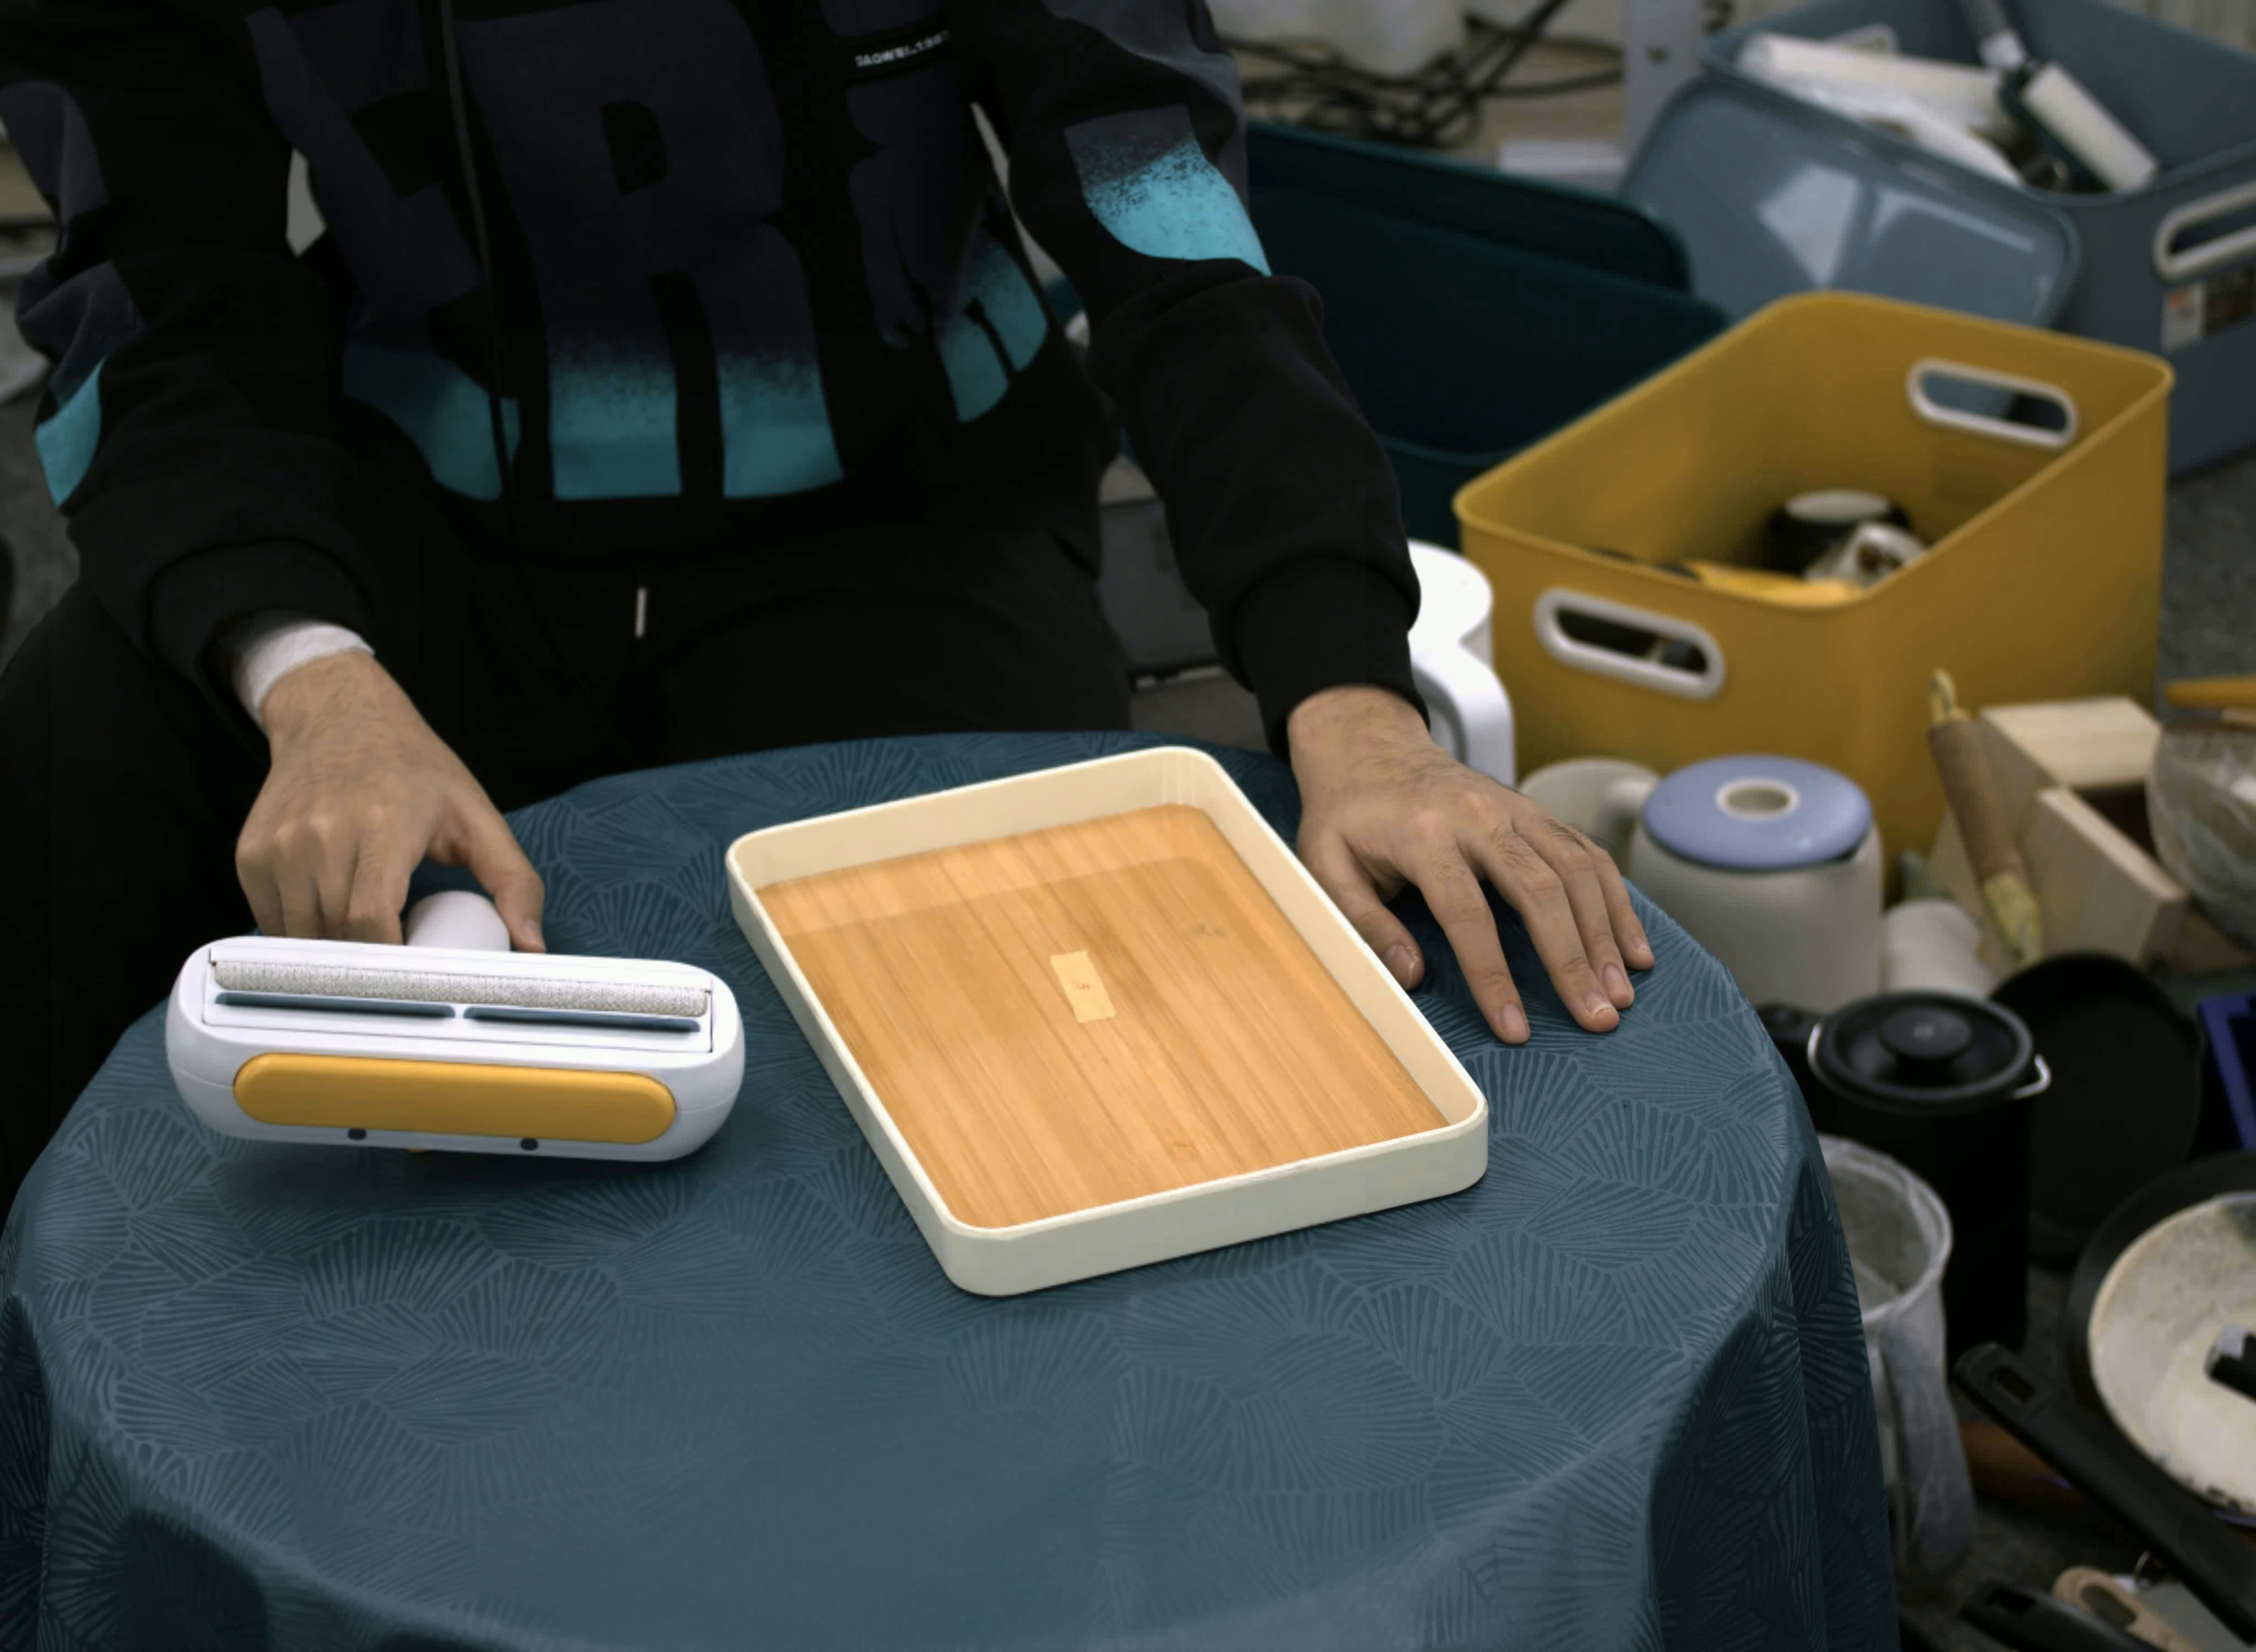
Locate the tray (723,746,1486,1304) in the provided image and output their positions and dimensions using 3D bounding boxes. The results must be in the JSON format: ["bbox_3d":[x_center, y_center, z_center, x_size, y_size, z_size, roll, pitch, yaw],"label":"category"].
[{"bbox_3d":[-0.014,0.063,1.946,0.192,0.027,0.303,-12,29,-15],"label":"tray"}]

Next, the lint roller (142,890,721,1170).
[{"bbox_3d":[-0.235,0.056,1.937,0.192,0.073,0.195,1,25,-3],"label":"lint roller"}]
